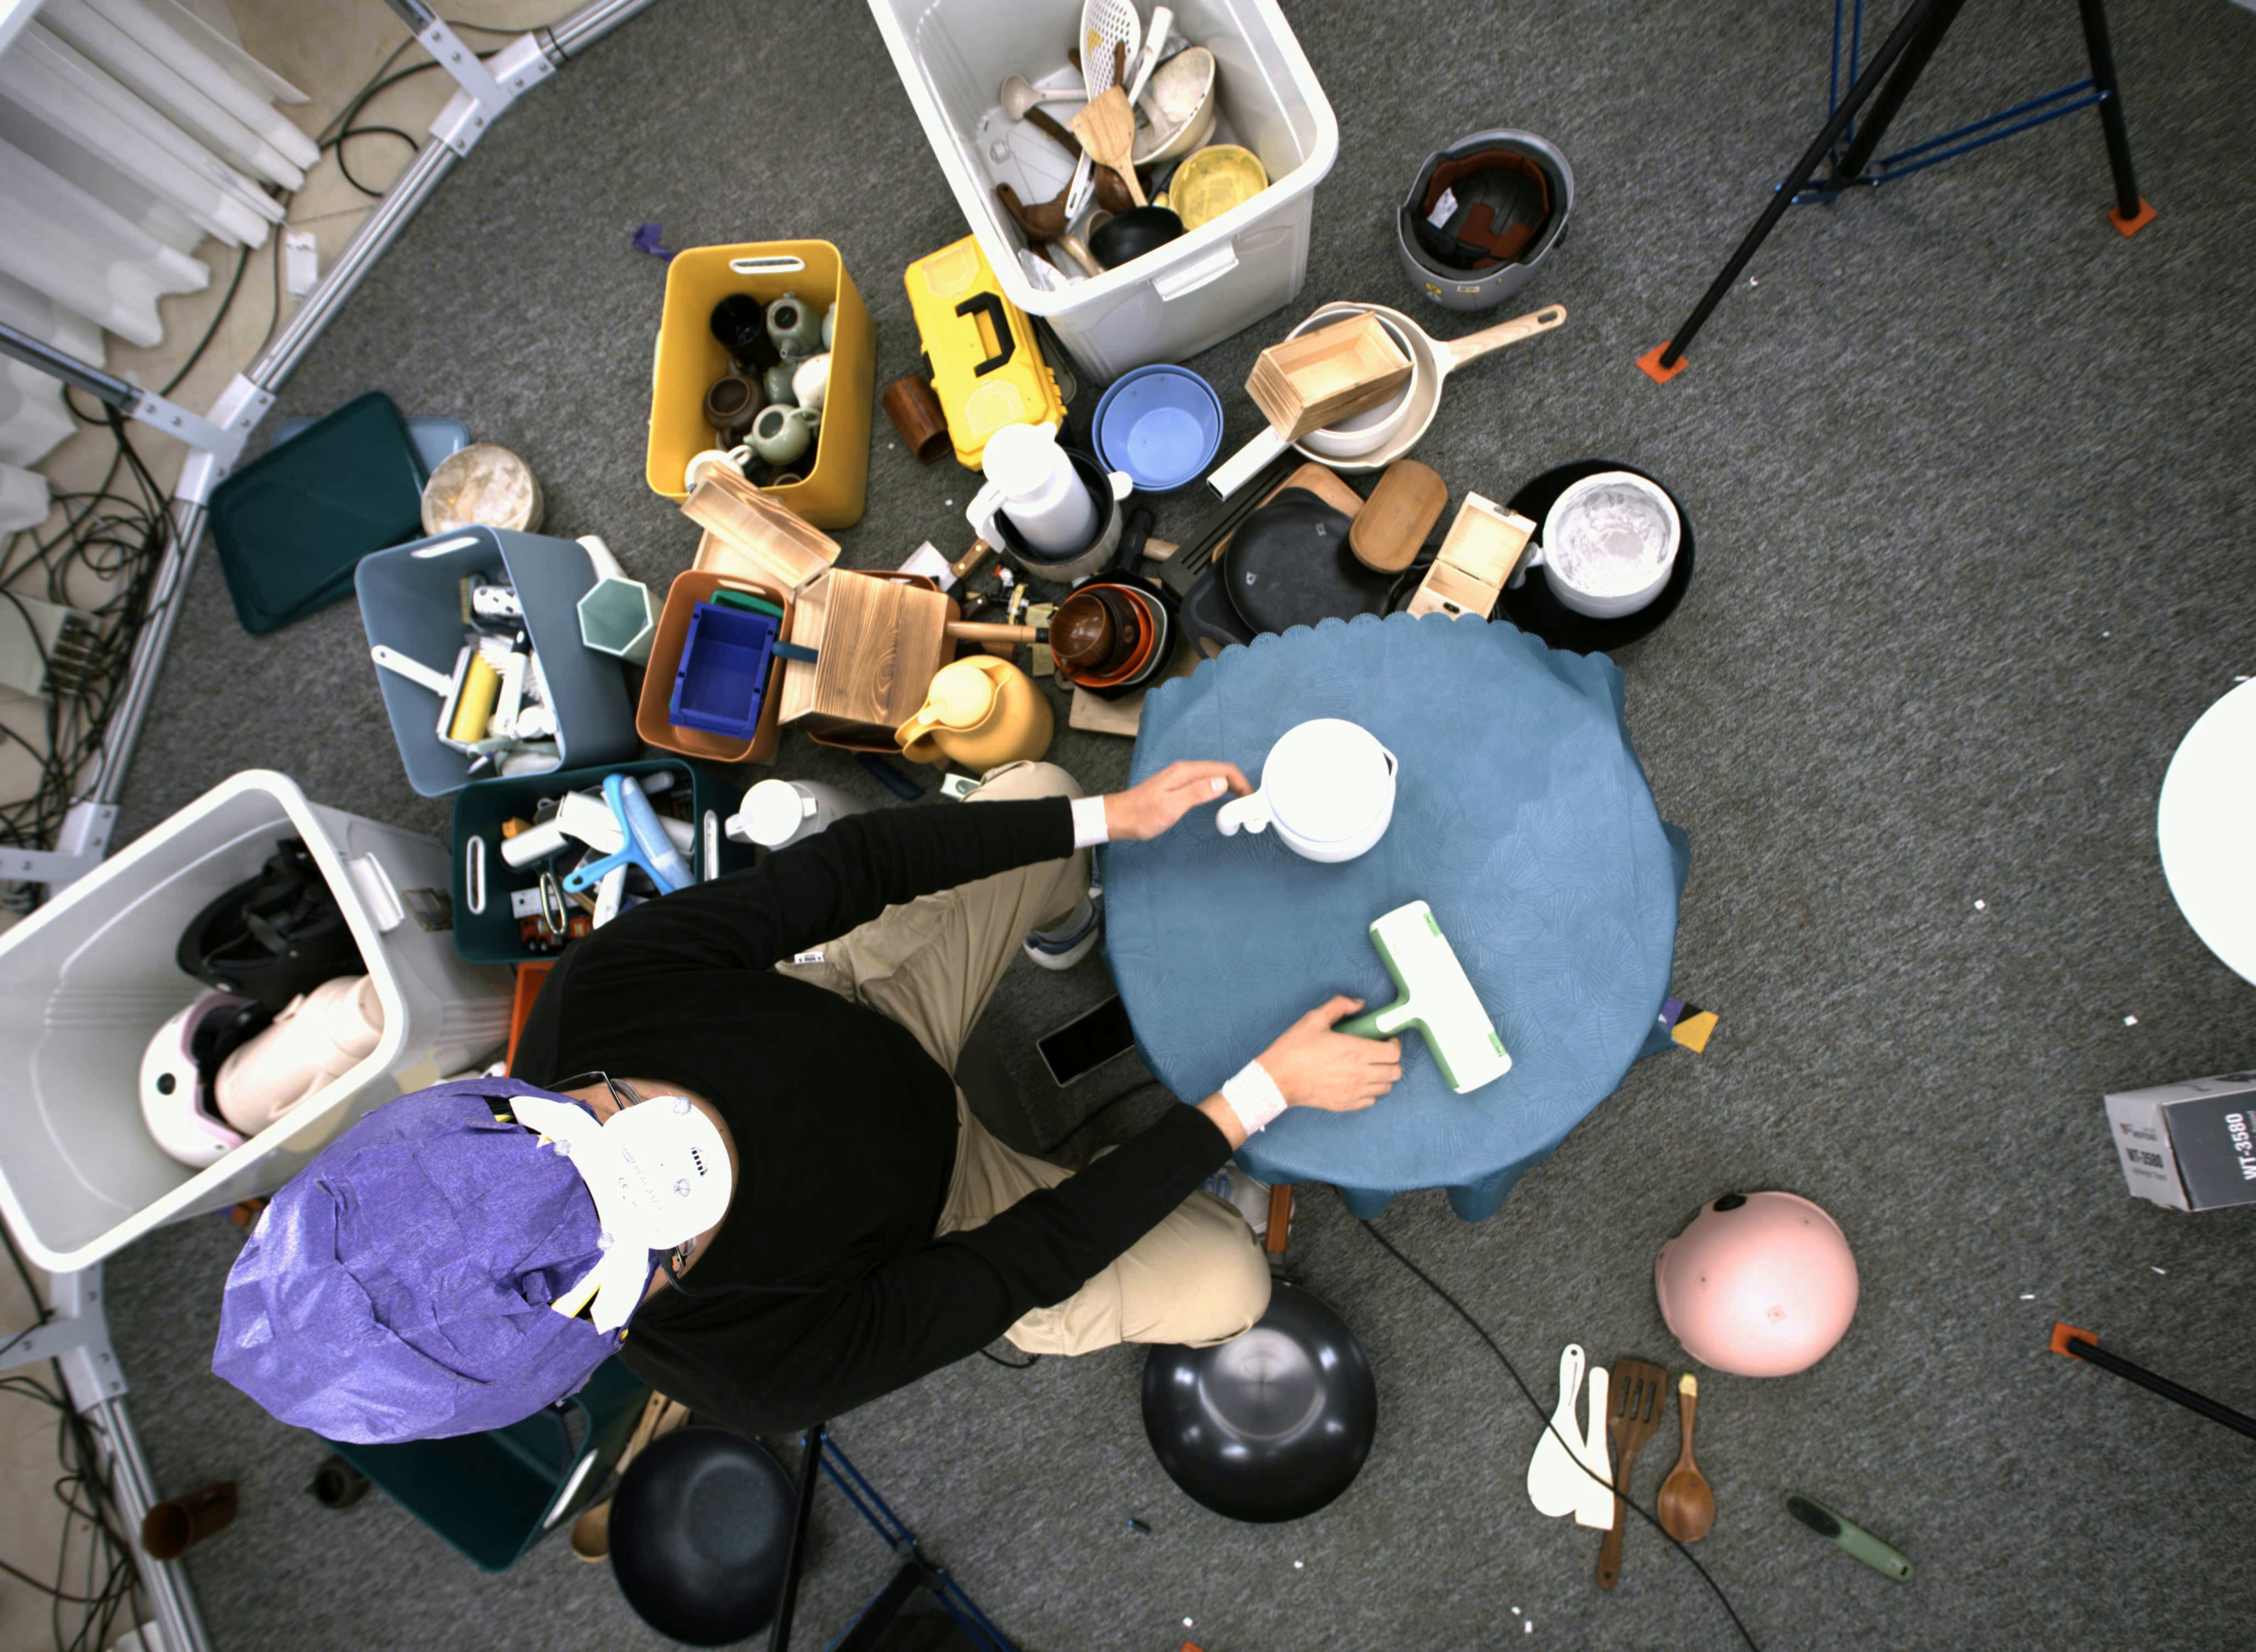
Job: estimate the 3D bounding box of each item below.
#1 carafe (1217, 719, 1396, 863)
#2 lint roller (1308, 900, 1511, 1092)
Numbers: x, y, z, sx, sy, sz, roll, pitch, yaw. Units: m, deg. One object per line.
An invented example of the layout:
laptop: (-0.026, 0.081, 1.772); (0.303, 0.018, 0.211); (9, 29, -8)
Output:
carafe: (0.180, -0.027, 1.395); (0.192, 0.182, 0.131); (-19, 81, 10)
lint roller: (0.266, 0.199, 1.415); (0.184, 0.082, 0.197); (-28, 81, 5)
